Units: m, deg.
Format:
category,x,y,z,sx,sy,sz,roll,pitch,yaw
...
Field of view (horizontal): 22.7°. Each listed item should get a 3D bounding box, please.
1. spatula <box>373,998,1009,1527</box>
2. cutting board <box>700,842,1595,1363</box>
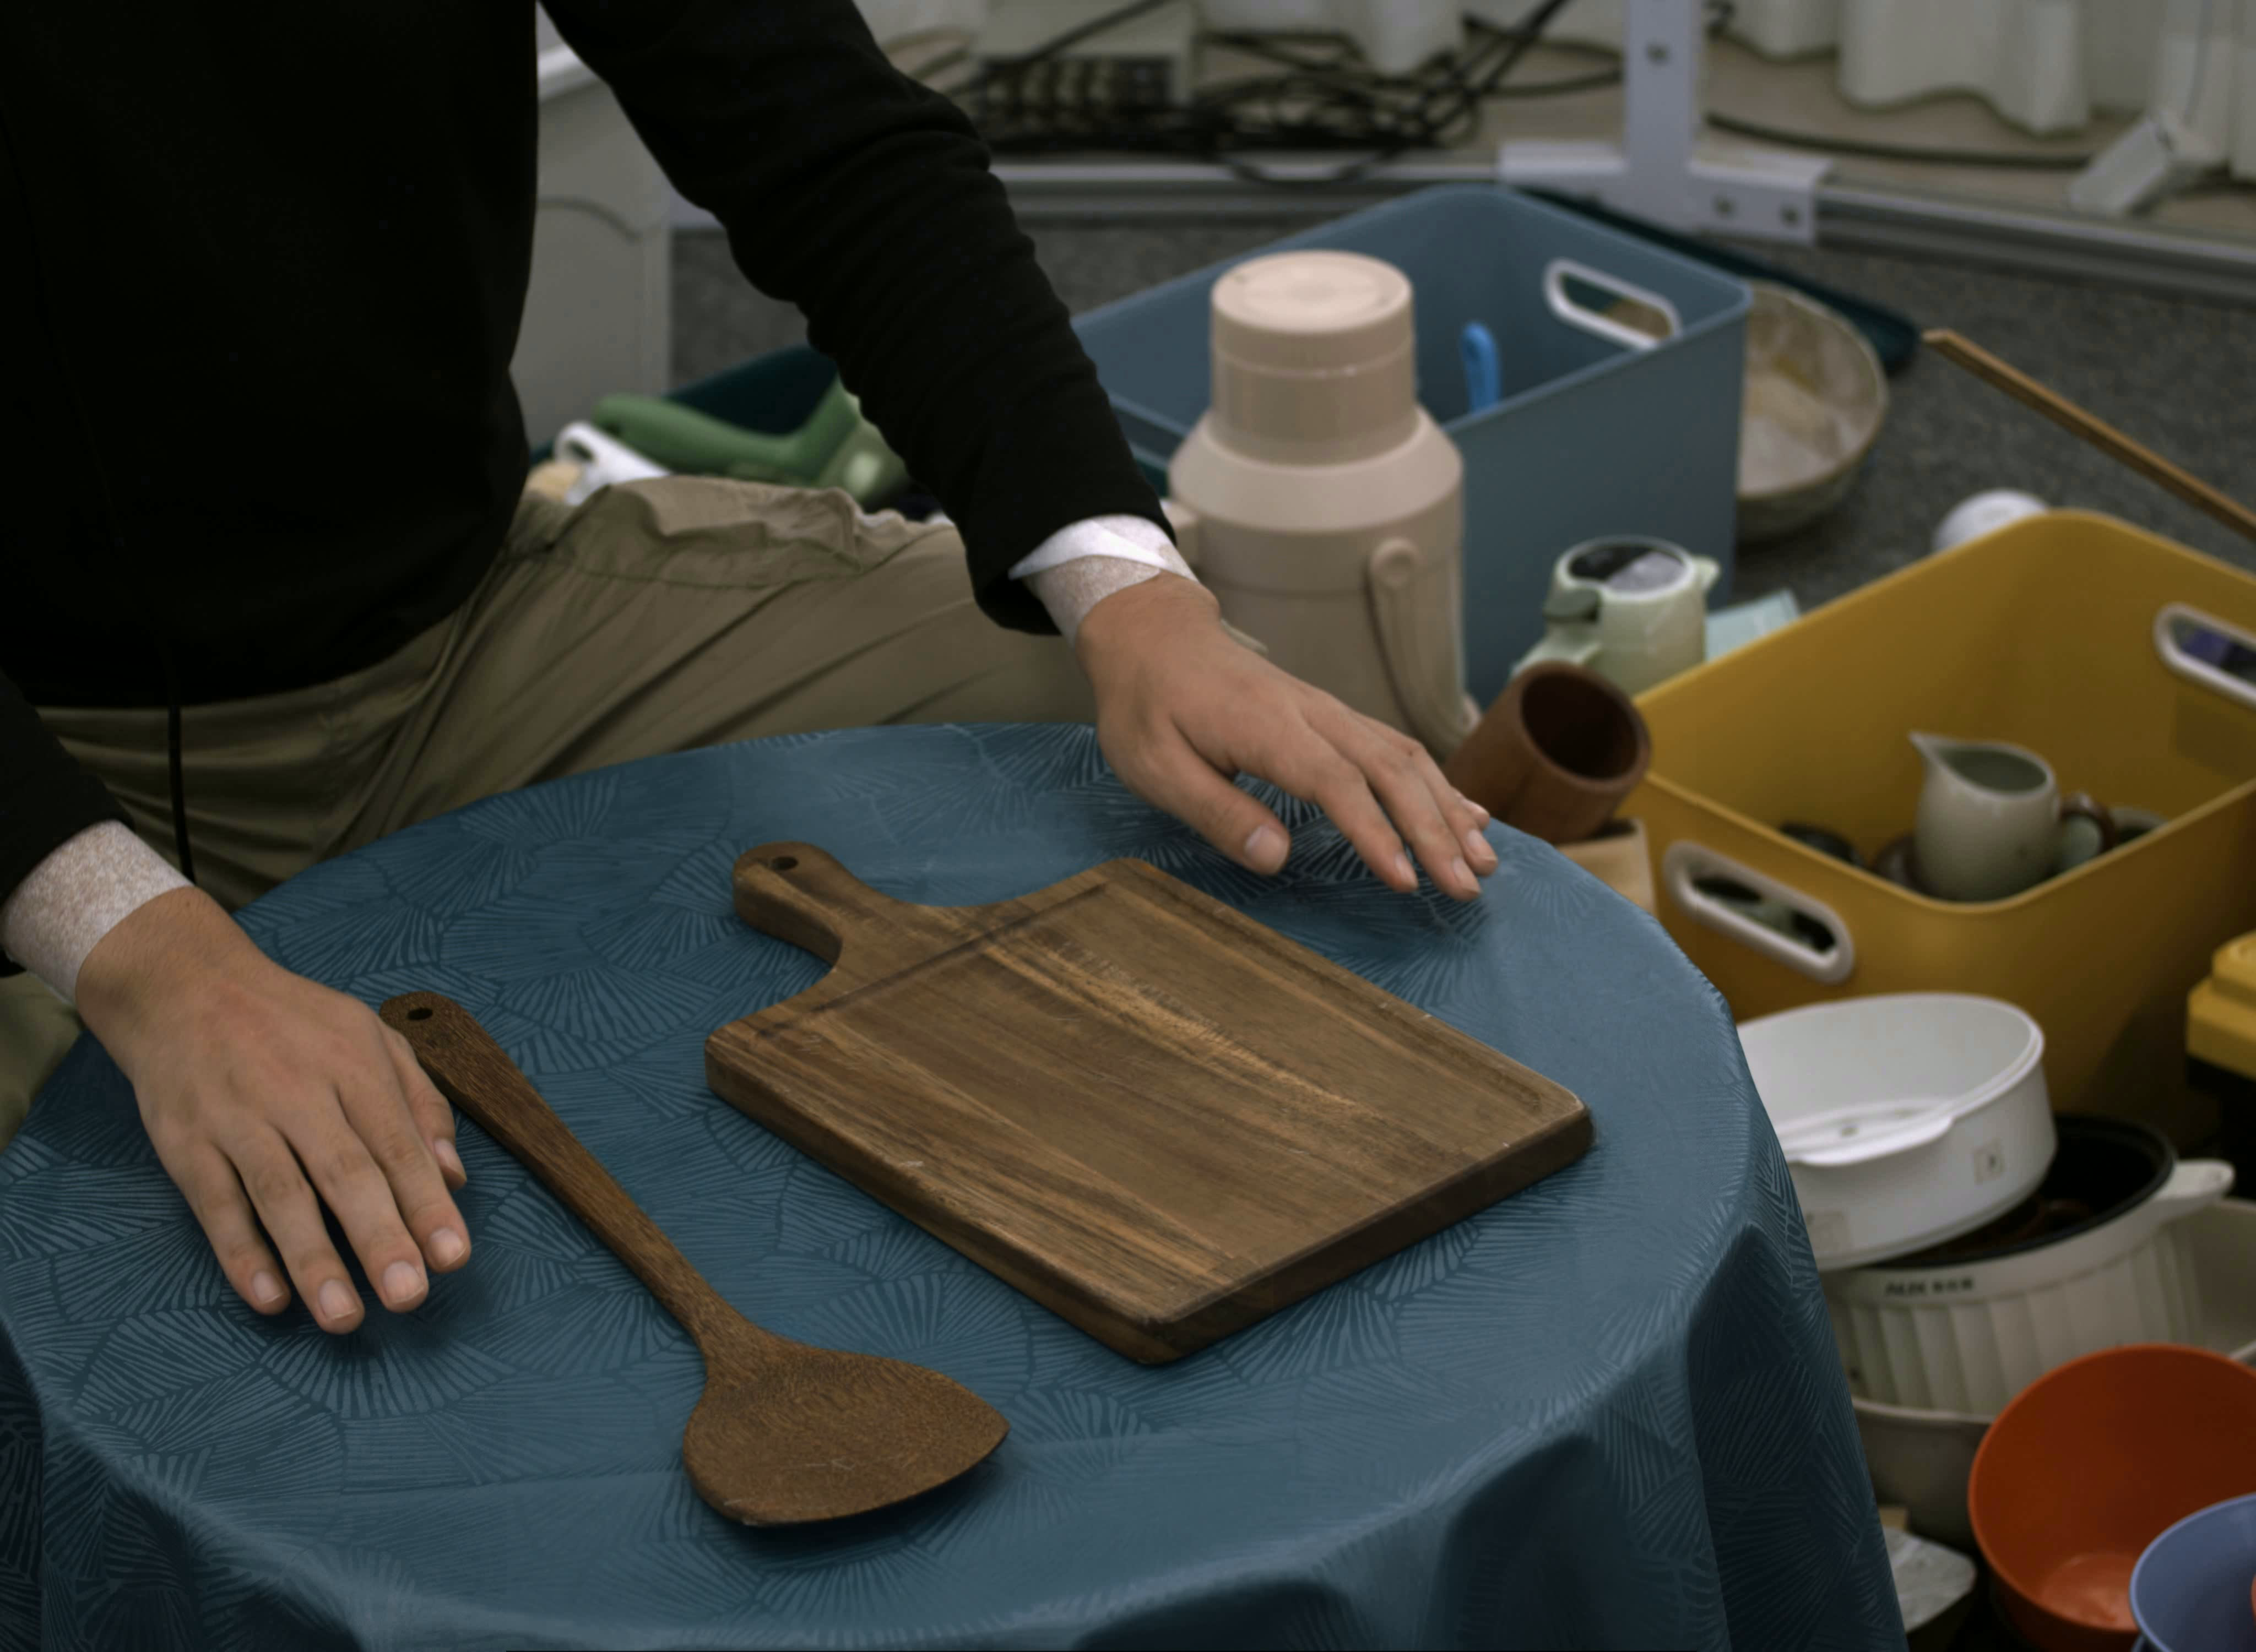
category,x,y,z,sx,sy,sz,roll,pitch,yaw
spatula,-0.164,0.134,1.838,0.096,0.015,0.387,-17,30,-25
cutting board,-0.027,0.074,1.934,0.203,0.023,0.352,-23,33,-34
